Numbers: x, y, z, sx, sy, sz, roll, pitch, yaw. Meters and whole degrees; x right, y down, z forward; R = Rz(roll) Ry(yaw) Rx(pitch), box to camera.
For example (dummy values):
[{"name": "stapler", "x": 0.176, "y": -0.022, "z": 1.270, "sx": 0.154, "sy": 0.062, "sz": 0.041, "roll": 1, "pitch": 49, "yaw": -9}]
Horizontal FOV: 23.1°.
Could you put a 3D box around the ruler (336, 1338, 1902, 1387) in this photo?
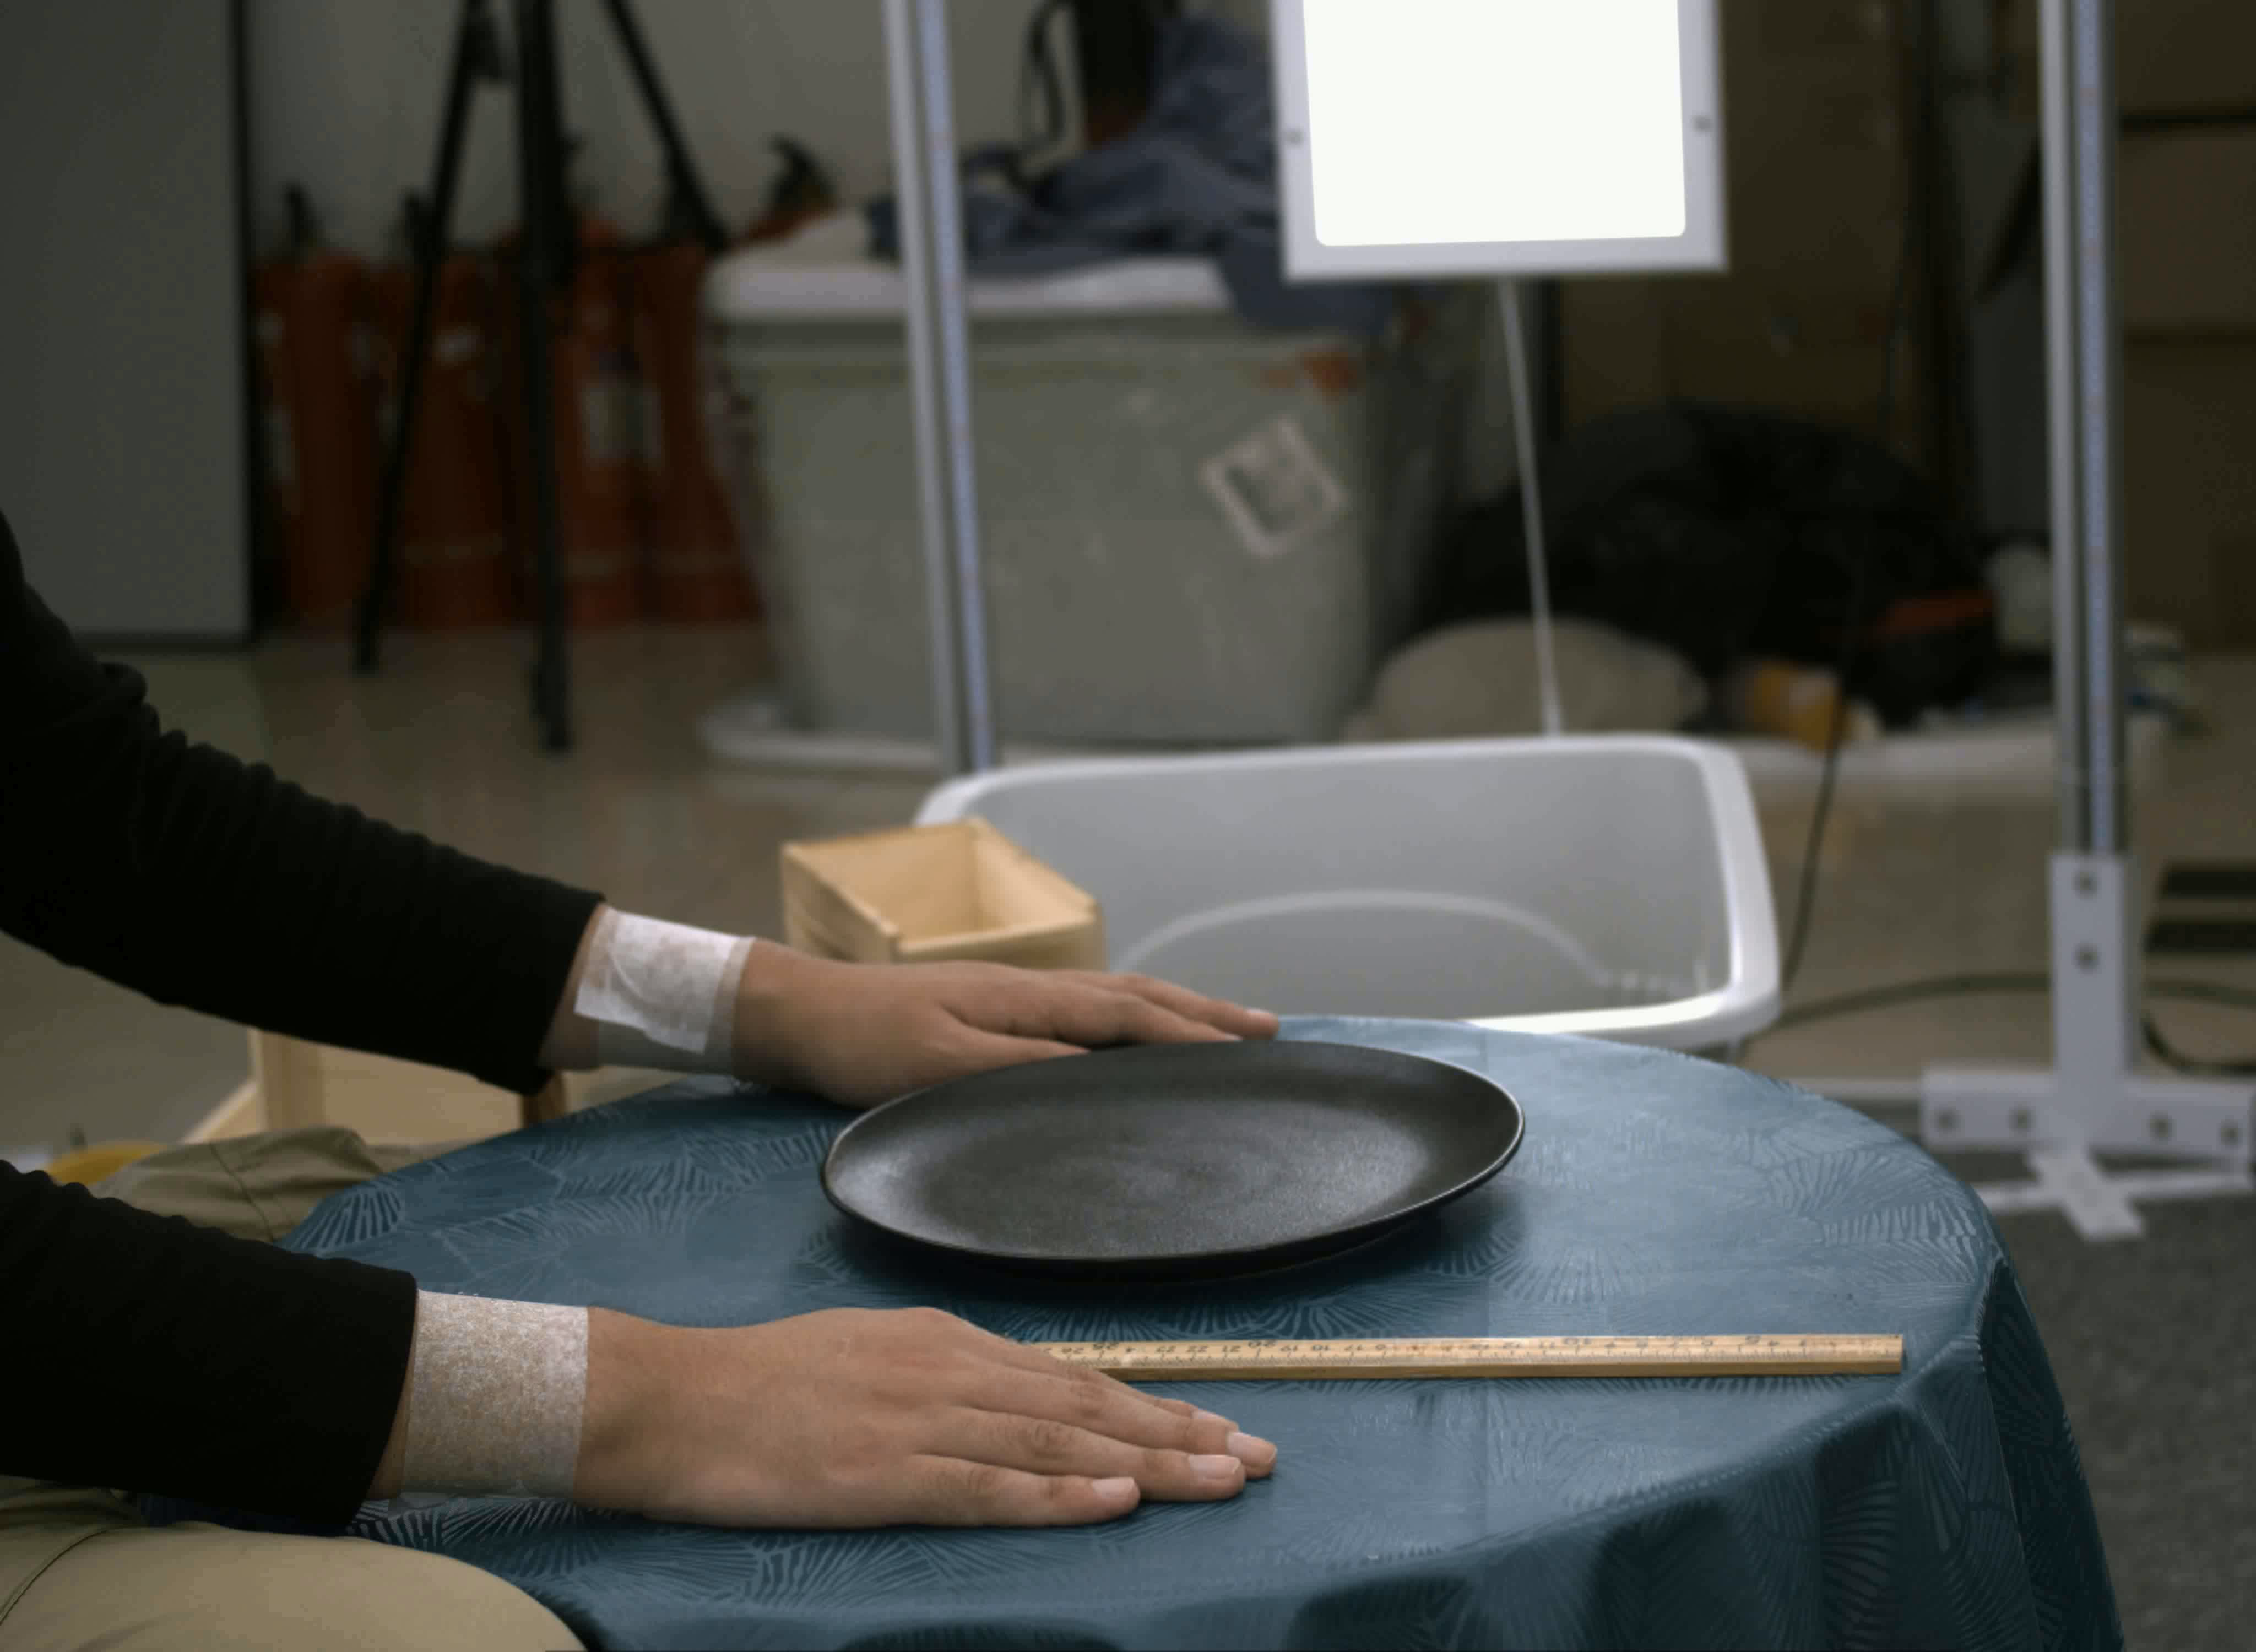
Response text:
[{"name": "ruler", "x": -0.008, "y": 0.168, "z": 1.724, "sx": 0.505, "sy": 0.006, "sz": 0.026, "roll": -2, "pitch": 12, "yaw": 14}]

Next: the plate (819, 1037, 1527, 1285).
[{"name": "plate", "x": 0.016, "y": 0.117, "z": 1.882, "sx": 0.244, "sy": 0.023, "sz": 0.244, "roll": -5, "pitch": 14, "yaw": 0}]
